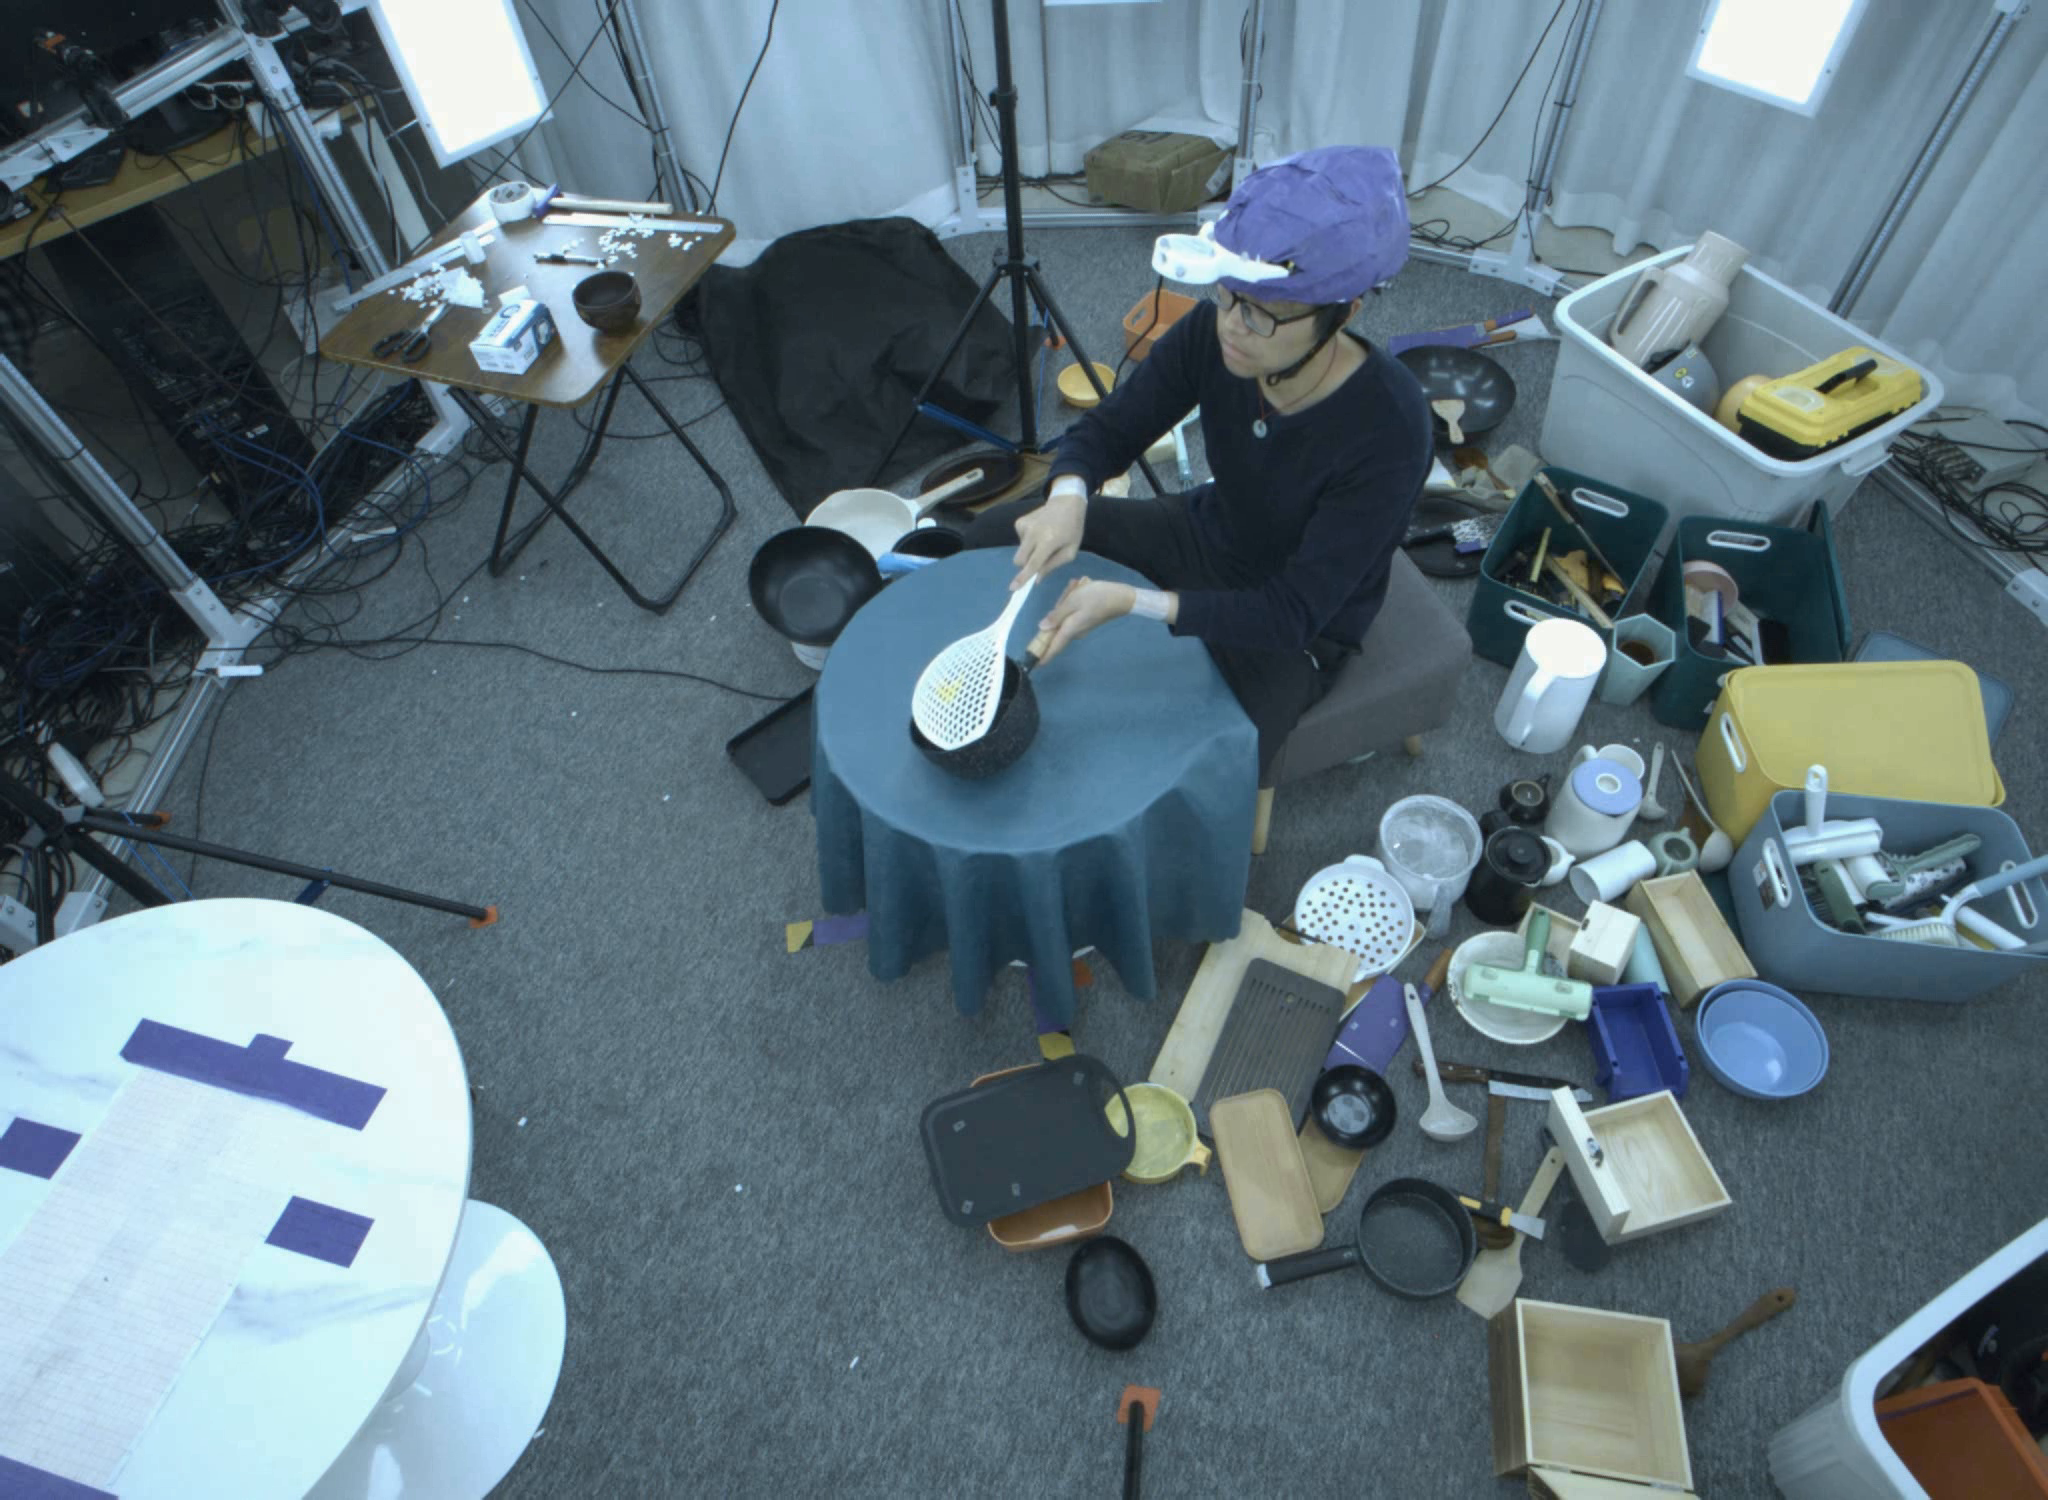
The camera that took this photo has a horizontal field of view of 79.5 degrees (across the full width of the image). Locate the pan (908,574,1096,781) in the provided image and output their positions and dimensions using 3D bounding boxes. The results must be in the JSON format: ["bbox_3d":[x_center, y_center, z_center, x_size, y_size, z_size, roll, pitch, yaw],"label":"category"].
[{"bbox_3d":[-0.011,-0.101,1.733,0.343,0.110,0.203,-43,37,-5],"label":"pan"}]

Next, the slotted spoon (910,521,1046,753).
[{"bbox_3d":[-0.045,-0.160,1.668,0.049,0.140,0.348,23,79,52],"label":"slotted spoon"}]
